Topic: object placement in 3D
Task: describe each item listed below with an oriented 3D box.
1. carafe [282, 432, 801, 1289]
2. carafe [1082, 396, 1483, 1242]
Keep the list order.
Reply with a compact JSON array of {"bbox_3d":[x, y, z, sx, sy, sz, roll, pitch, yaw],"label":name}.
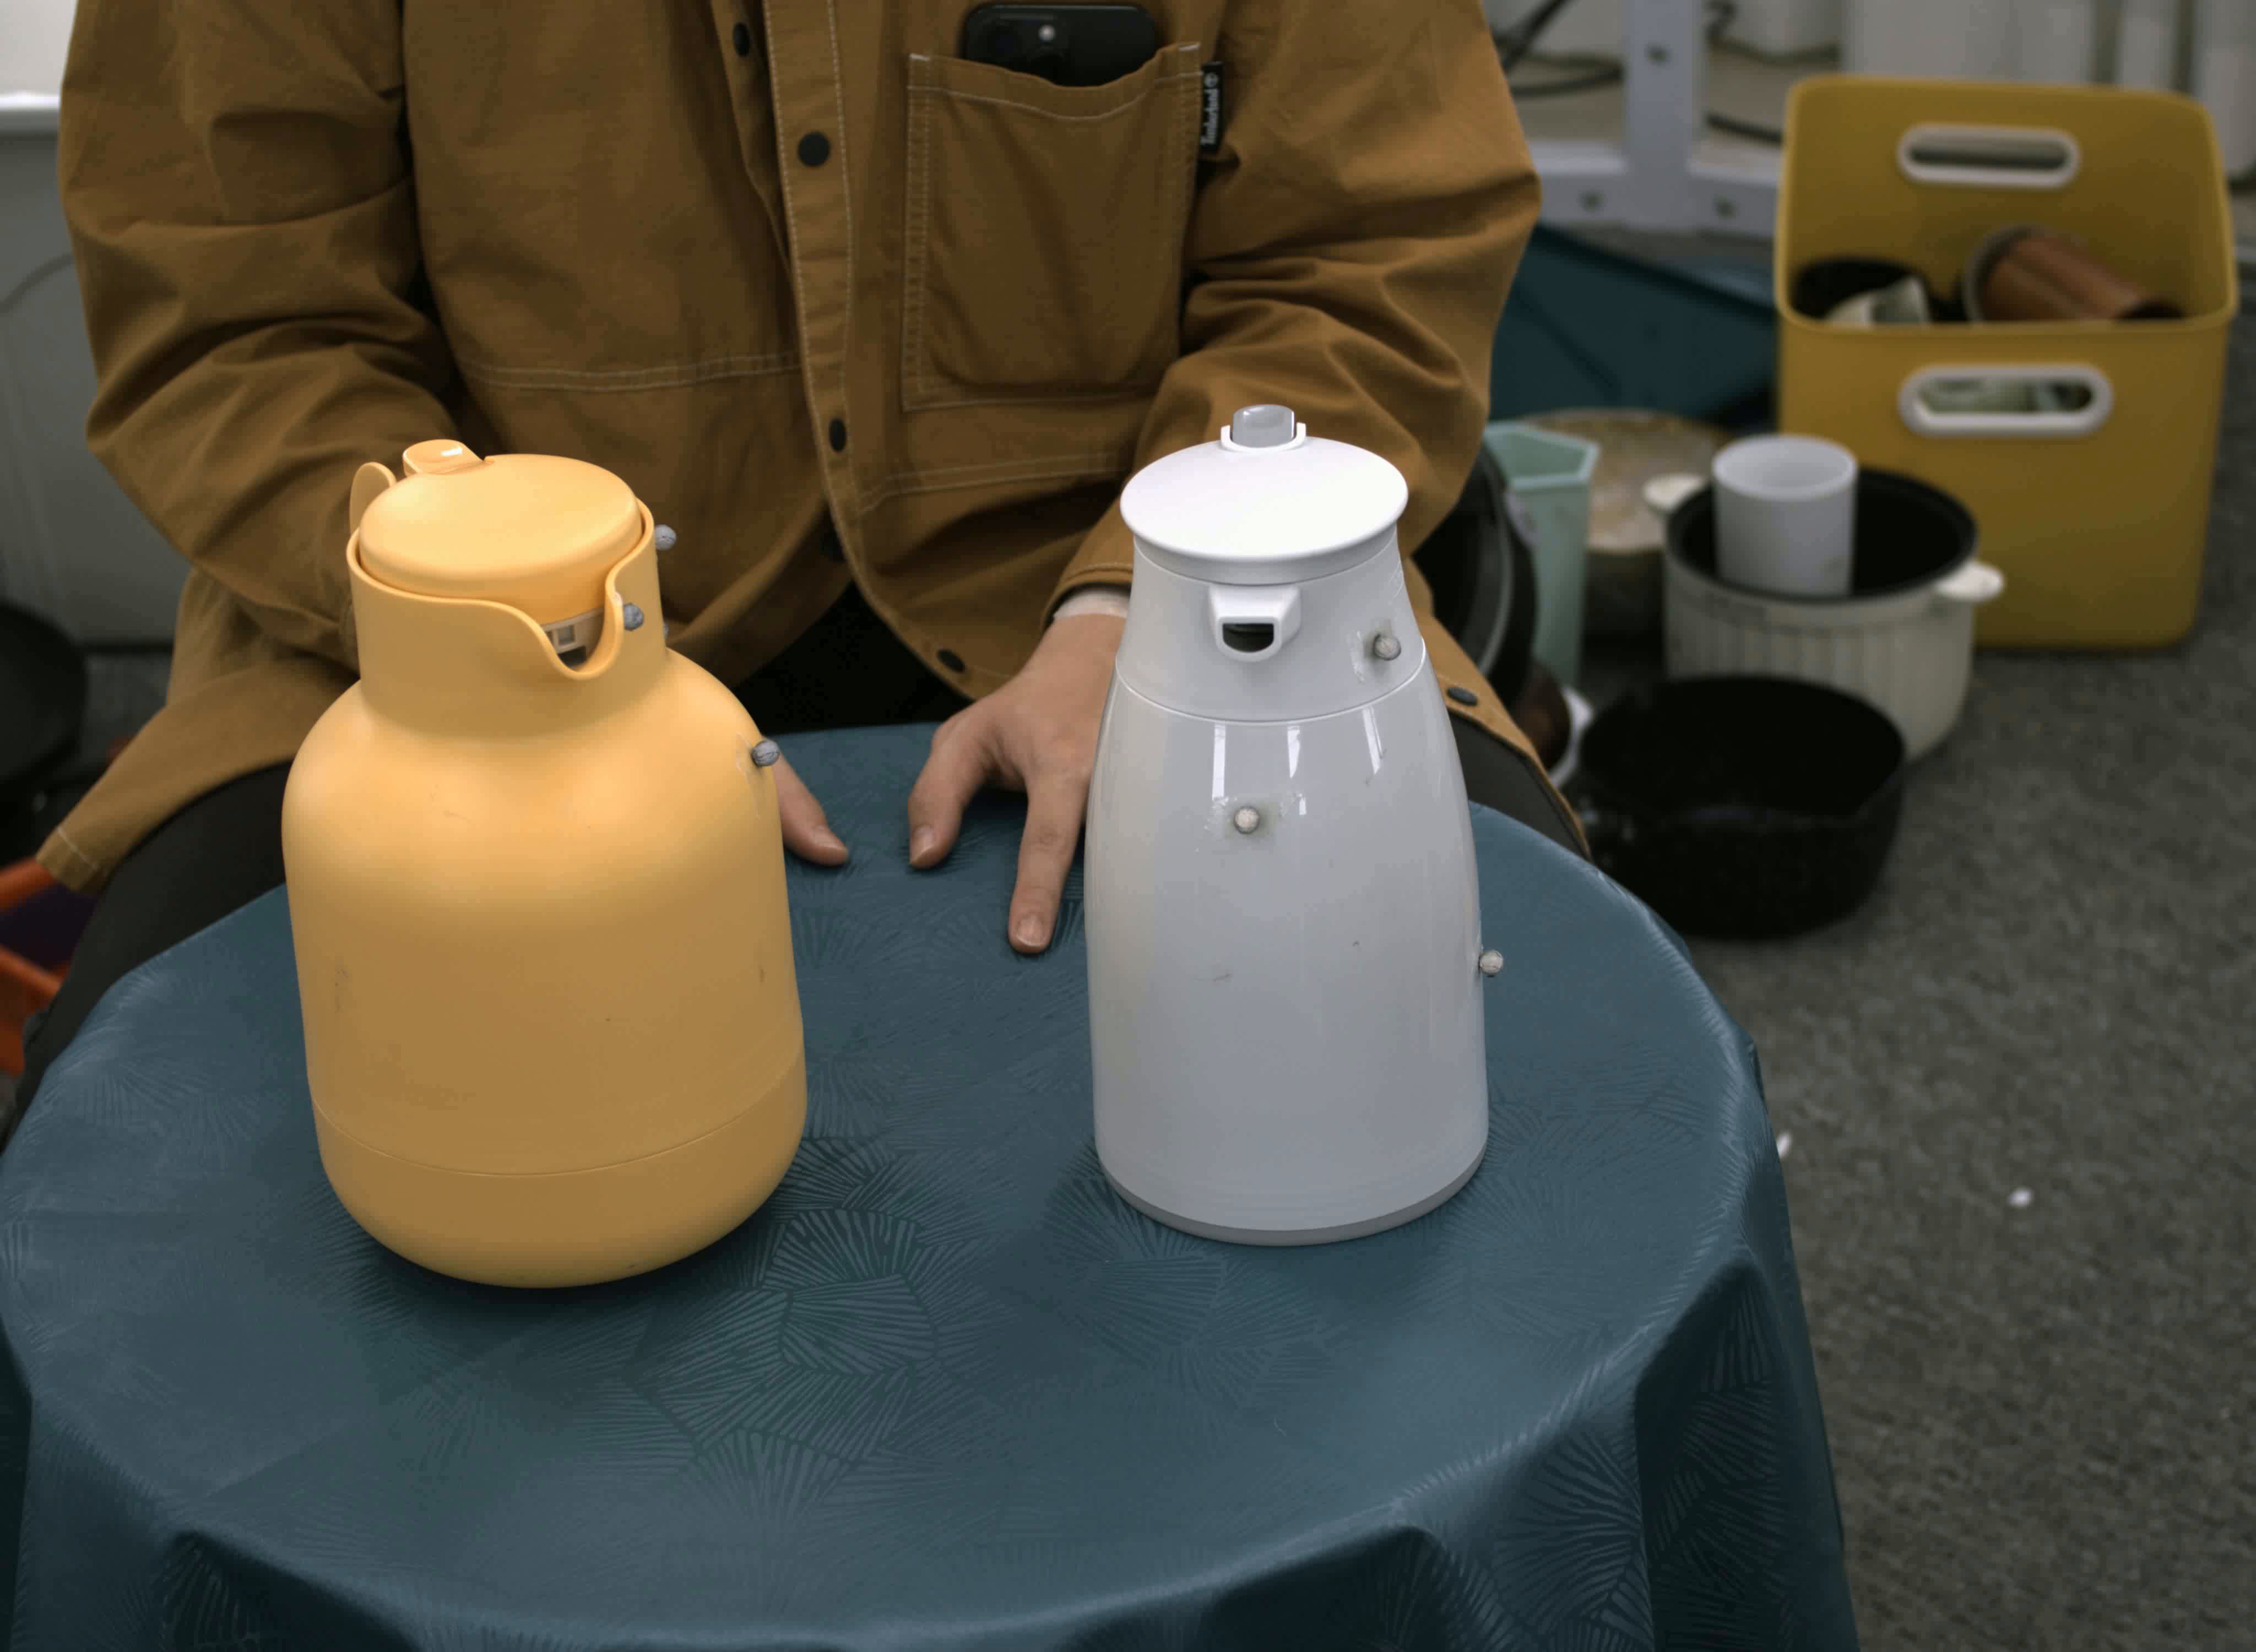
[{"bbox_3d":[-0.198,0.001,1.832,0.164,0.257,0.204,-12,29,-22],"label":"carafe"},{"bbox_3d":[0.049,-0.013,1.846,0.132,0.246,0.170,0,26,6],"label":"carafe"}]
